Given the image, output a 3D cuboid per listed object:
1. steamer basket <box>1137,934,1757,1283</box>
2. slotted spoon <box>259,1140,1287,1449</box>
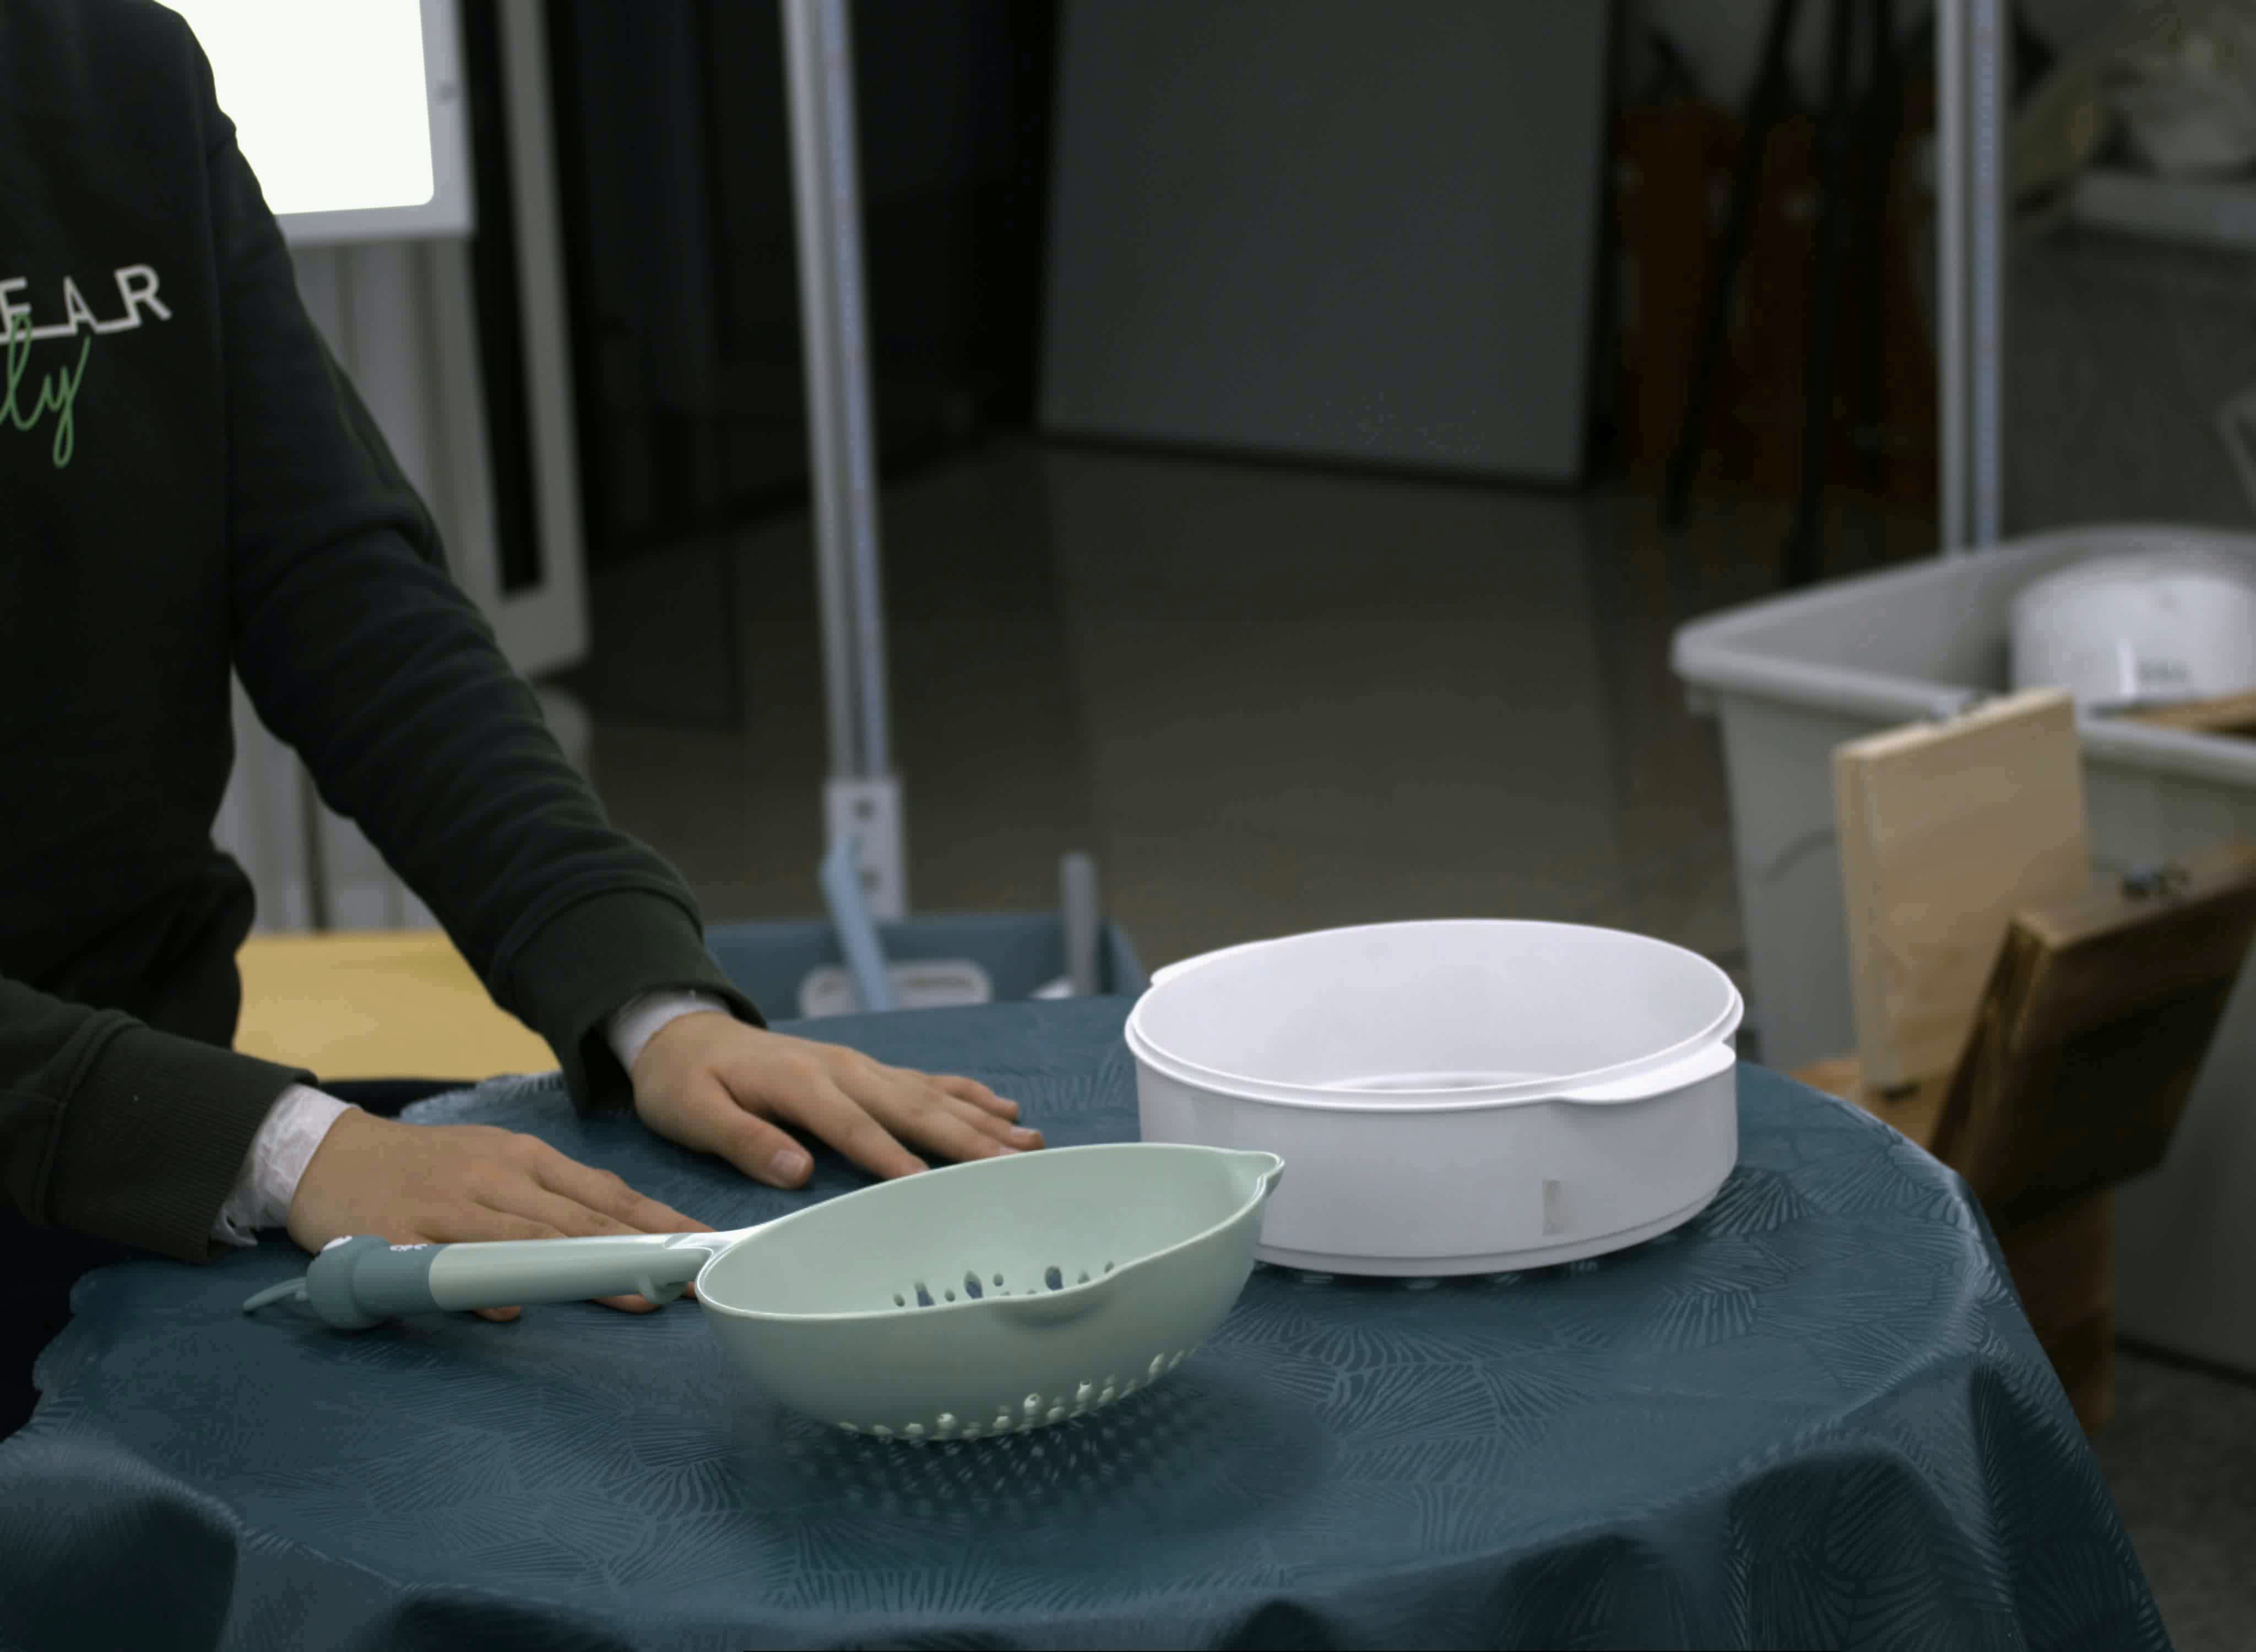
[{"bbox_3d":[0.103,0.090,1.731,0.197,0.070,0.233,-14,16,-38],"label":"steamer basket"},{"bbox_3d":[-0.121,0.137,1.615,0.360,0.076,0.167,4,15,31],"label":"slotted spoon"}]
